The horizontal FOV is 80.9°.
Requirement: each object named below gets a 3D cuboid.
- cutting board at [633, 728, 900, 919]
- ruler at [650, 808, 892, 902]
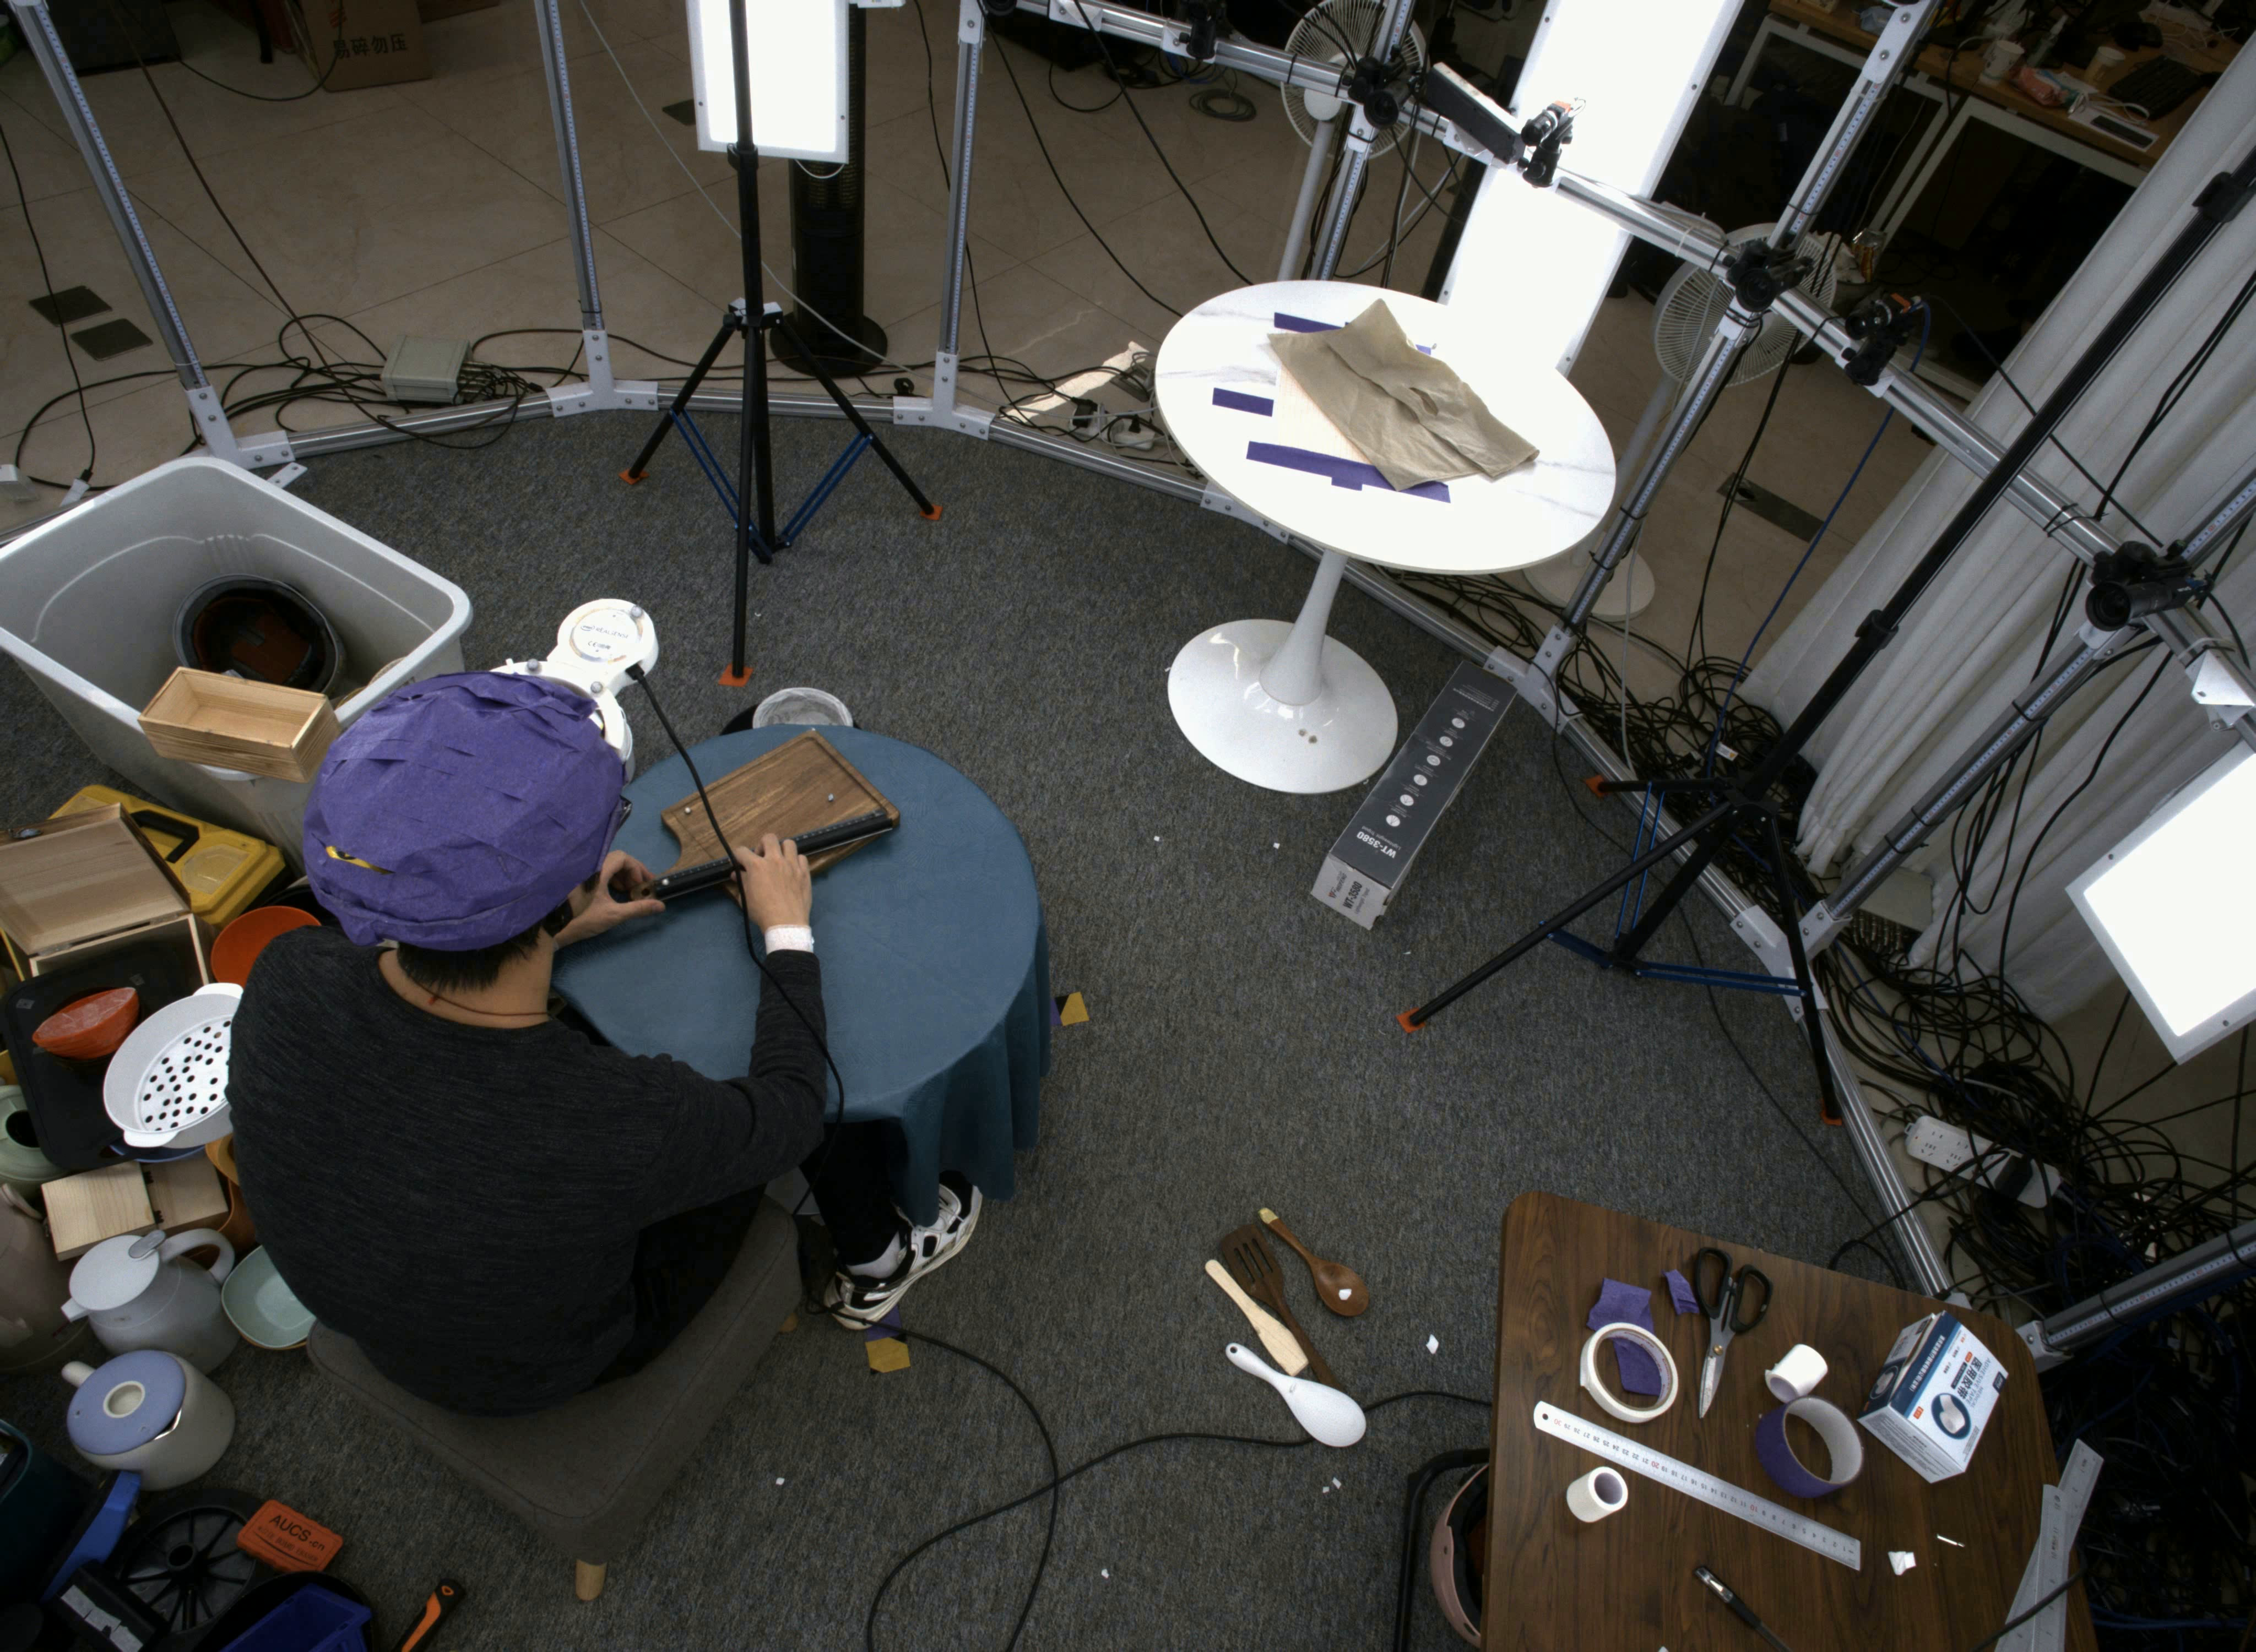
[{"bbox_3d":[-0.490,0.012,1.679,0.196,0.023,0.353,42,55,17],"label":"cutting board"},{"bbox_3d":[-0.451,0.028,1.645,0.314,0.017,0.038,-19,54,-25],"label":"ruler"}]
